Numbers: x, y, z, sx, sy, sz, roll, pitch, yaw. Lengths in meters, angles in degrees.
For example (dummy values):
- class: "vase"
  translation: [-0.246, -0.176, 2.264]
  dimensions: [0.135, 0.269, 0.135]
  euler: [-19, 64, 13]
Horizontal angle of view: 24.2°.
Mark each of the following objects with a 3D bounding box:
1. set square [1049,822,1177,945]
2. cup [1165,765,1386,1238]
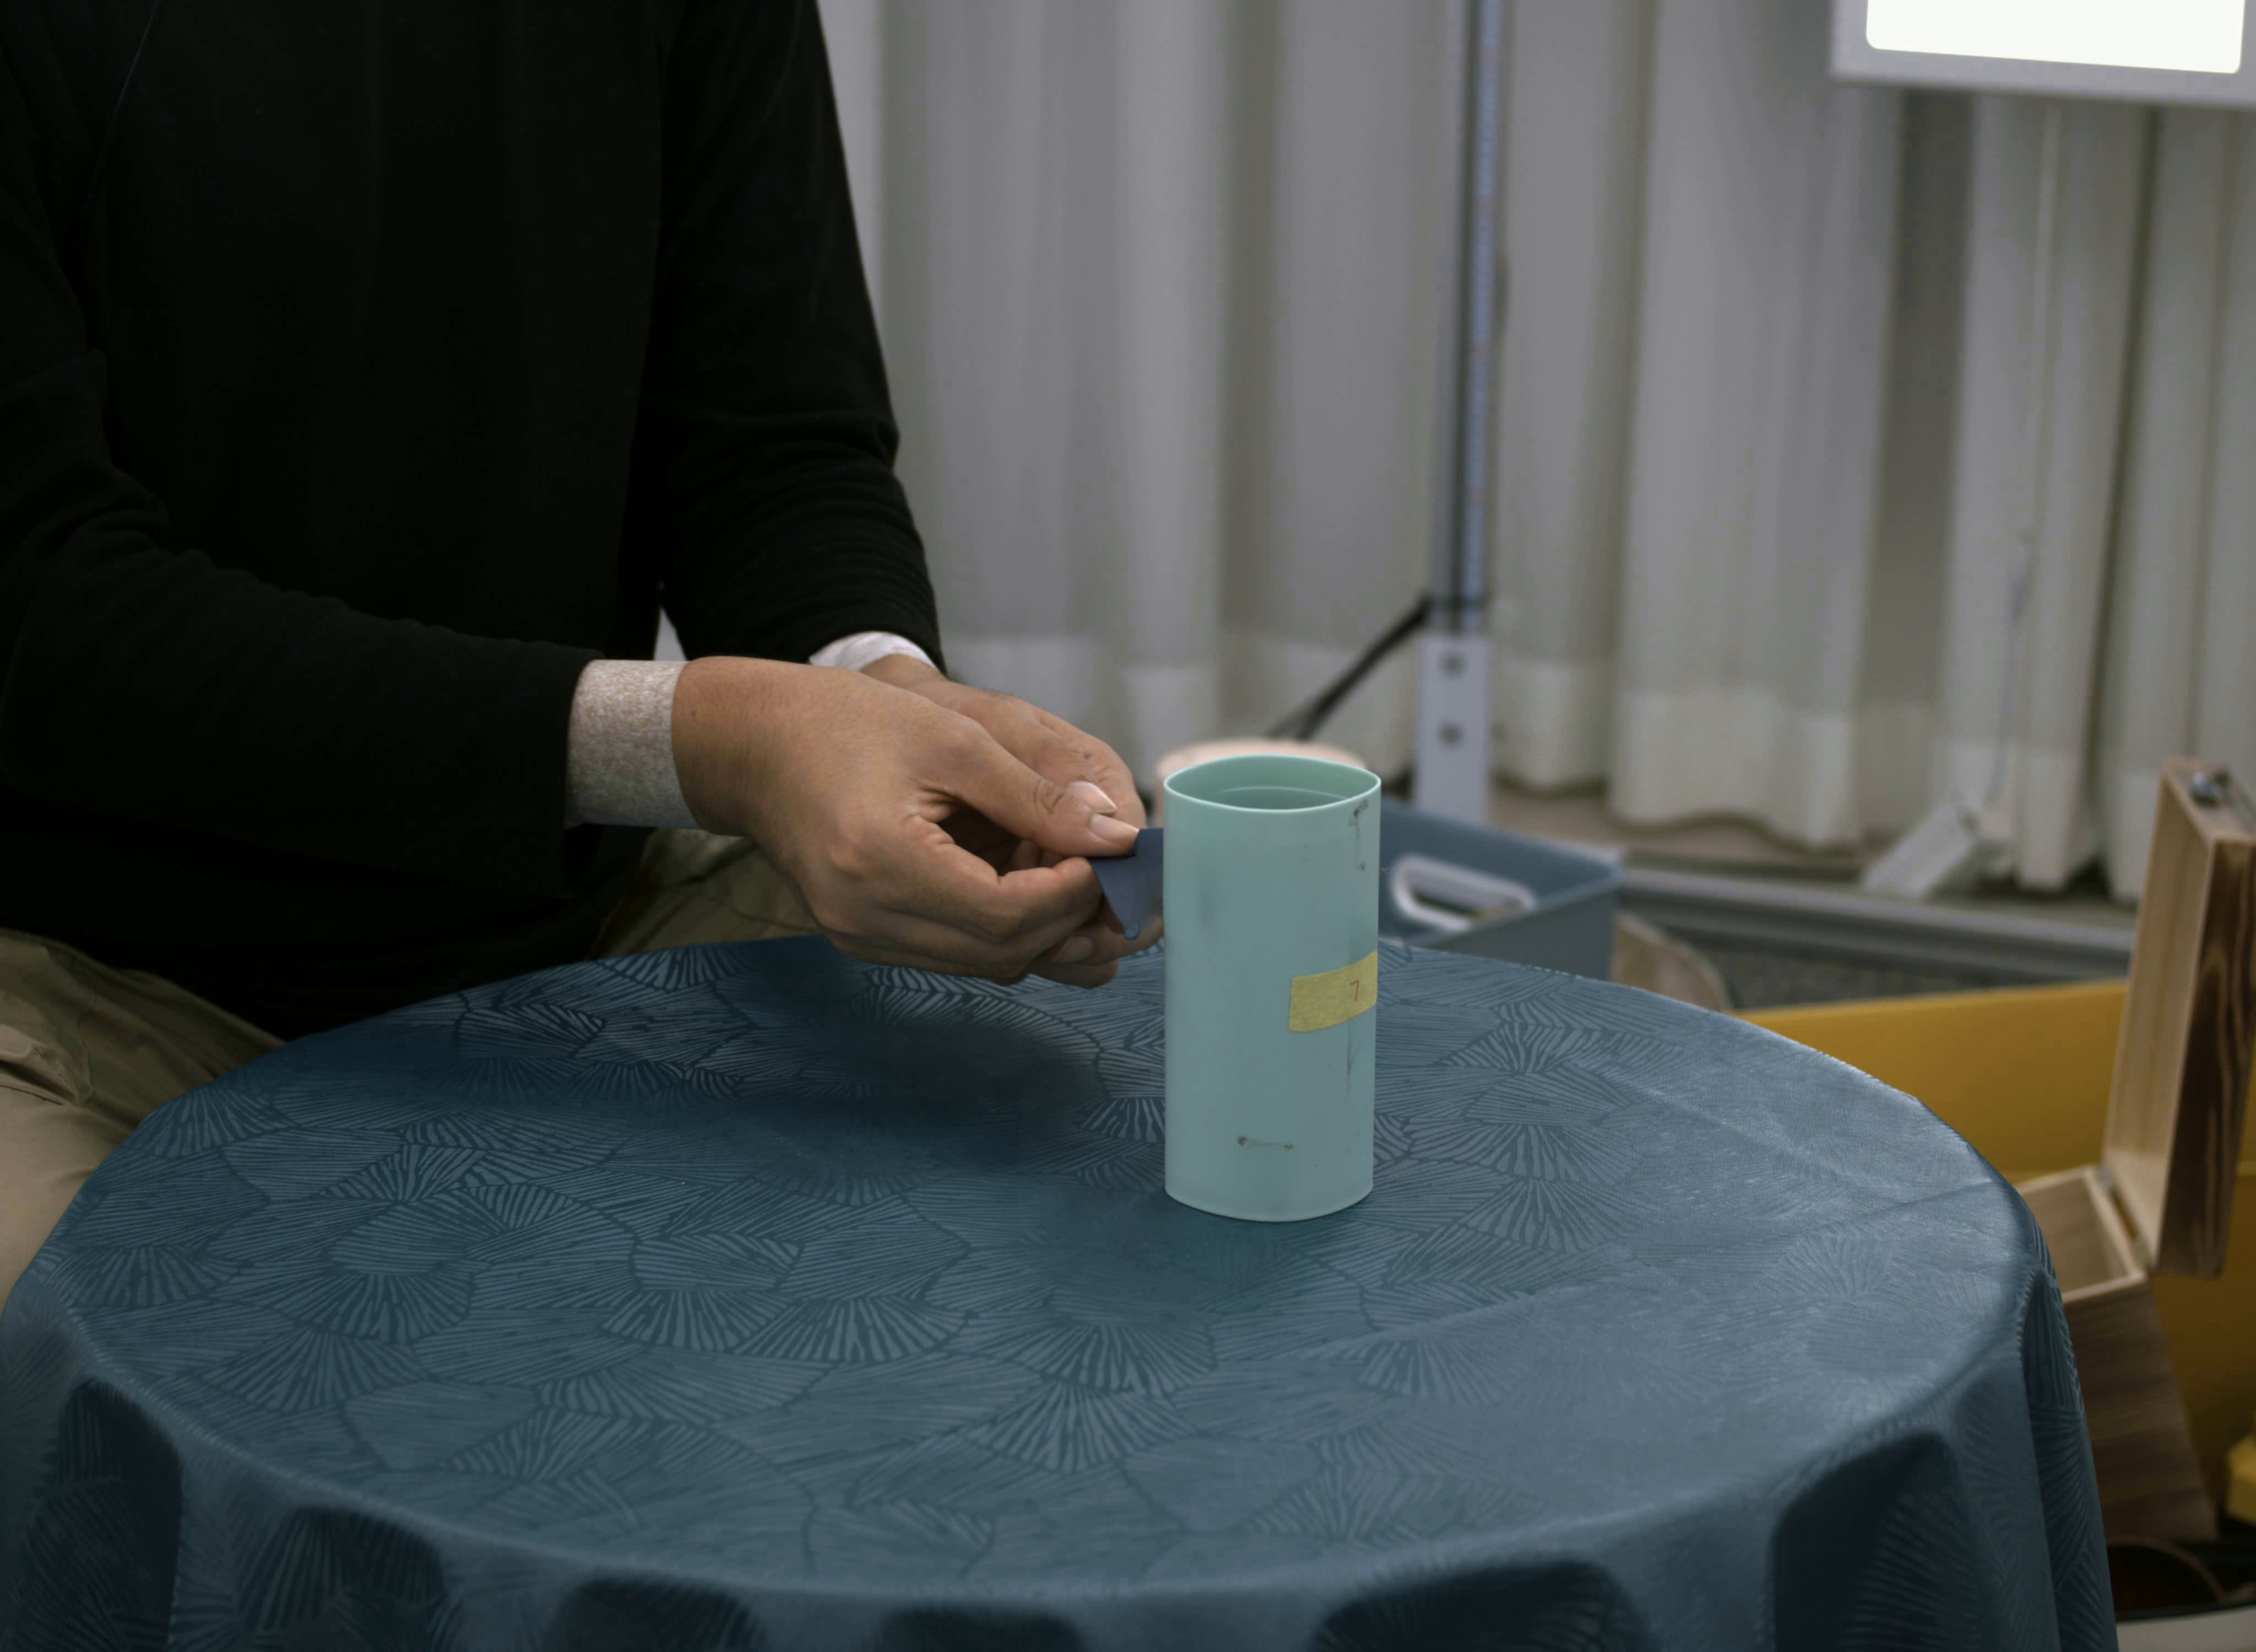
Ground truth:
- class: "set square"
  translation: [-0.010, 0.015, 1.649]
  dimensions: [0.060, 0.006, 0.132]
  euler: [8, 18, 25]
- class: "cup"
  translation: [0.043, 0.052, 1.607]
  dimensions: [0.066, 0.133, 0.066]
  euler: [1, 17, 0]
